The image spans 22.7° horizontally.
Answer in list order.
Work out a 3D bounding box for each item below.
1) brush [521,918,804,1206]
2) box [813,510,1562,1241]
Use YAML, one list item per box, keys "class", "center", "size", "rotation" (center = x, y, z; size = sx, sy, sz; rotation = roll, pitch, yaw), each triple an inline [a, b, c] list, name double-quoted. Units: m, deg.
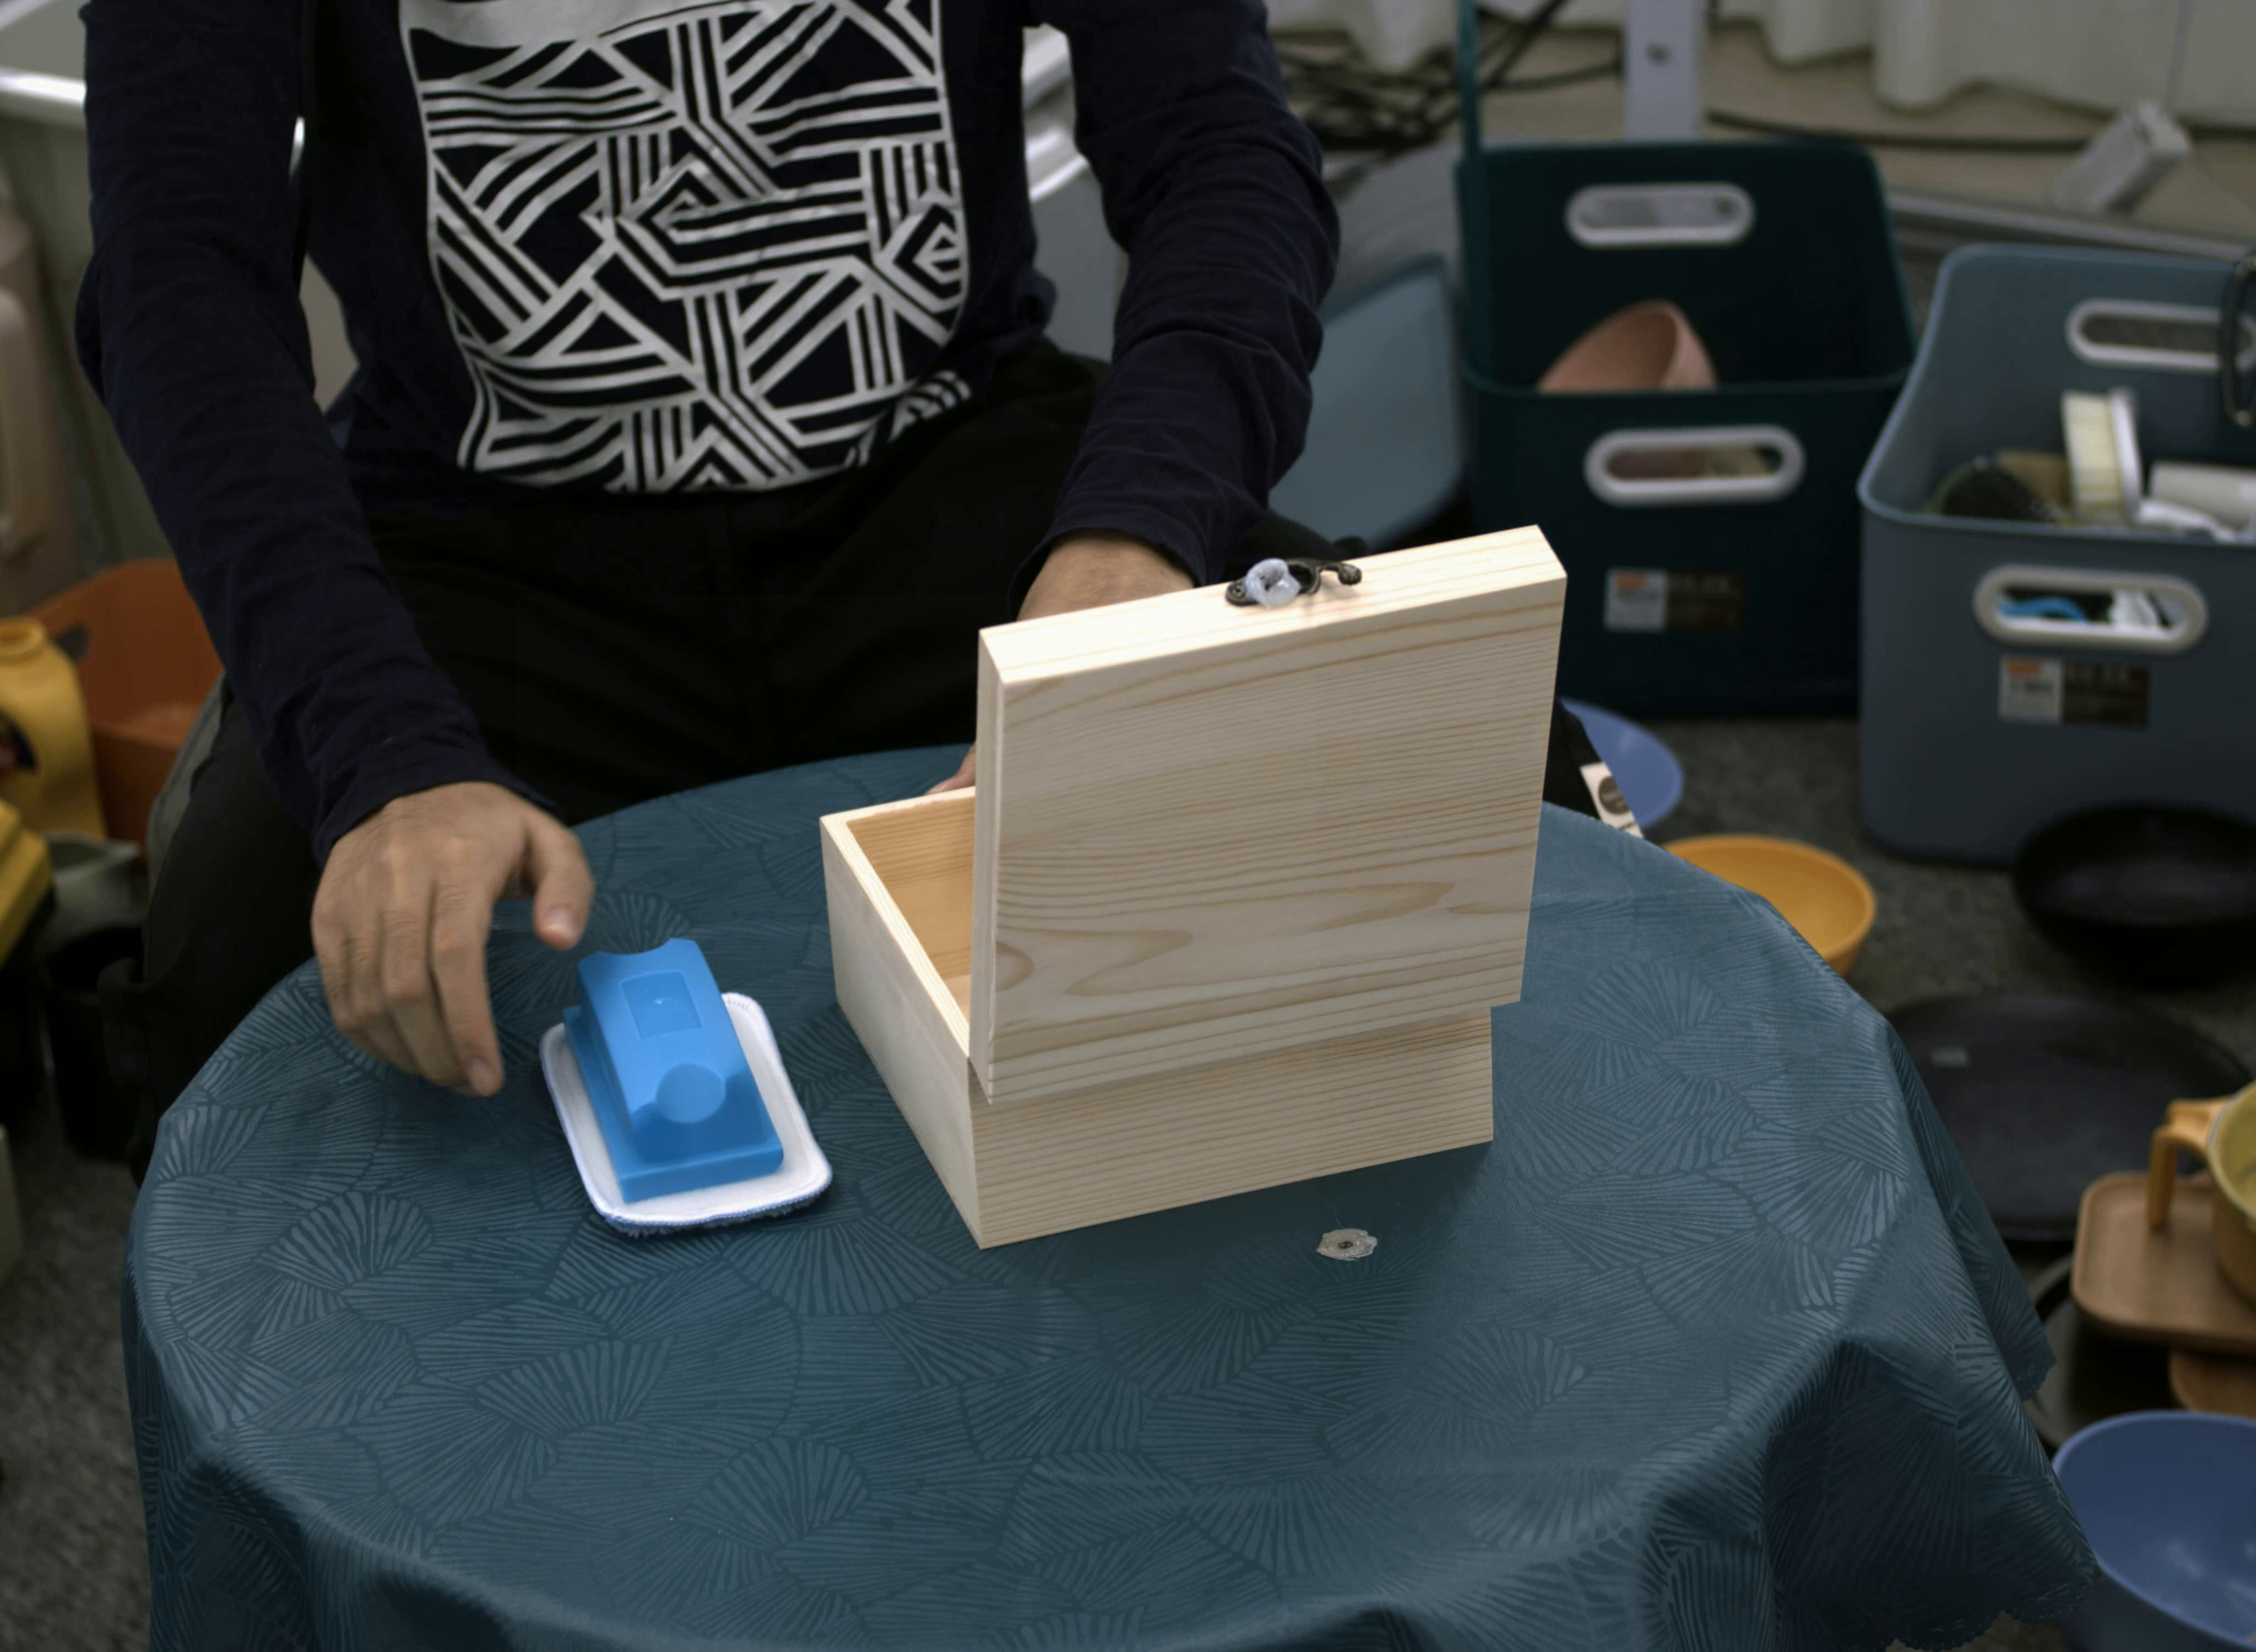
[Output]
- class: "brush"
  center: [-0.157, 0.076, 1.898]
  size: [0.084, 0.055, 0.145]
  rotation: [-6, 29, -12]
- class: "box"
  center: [0.012, -0.014, 1.847]
  size: [0.182, 0.250, 0.267]
  rotation: [-12, 28, -16]
